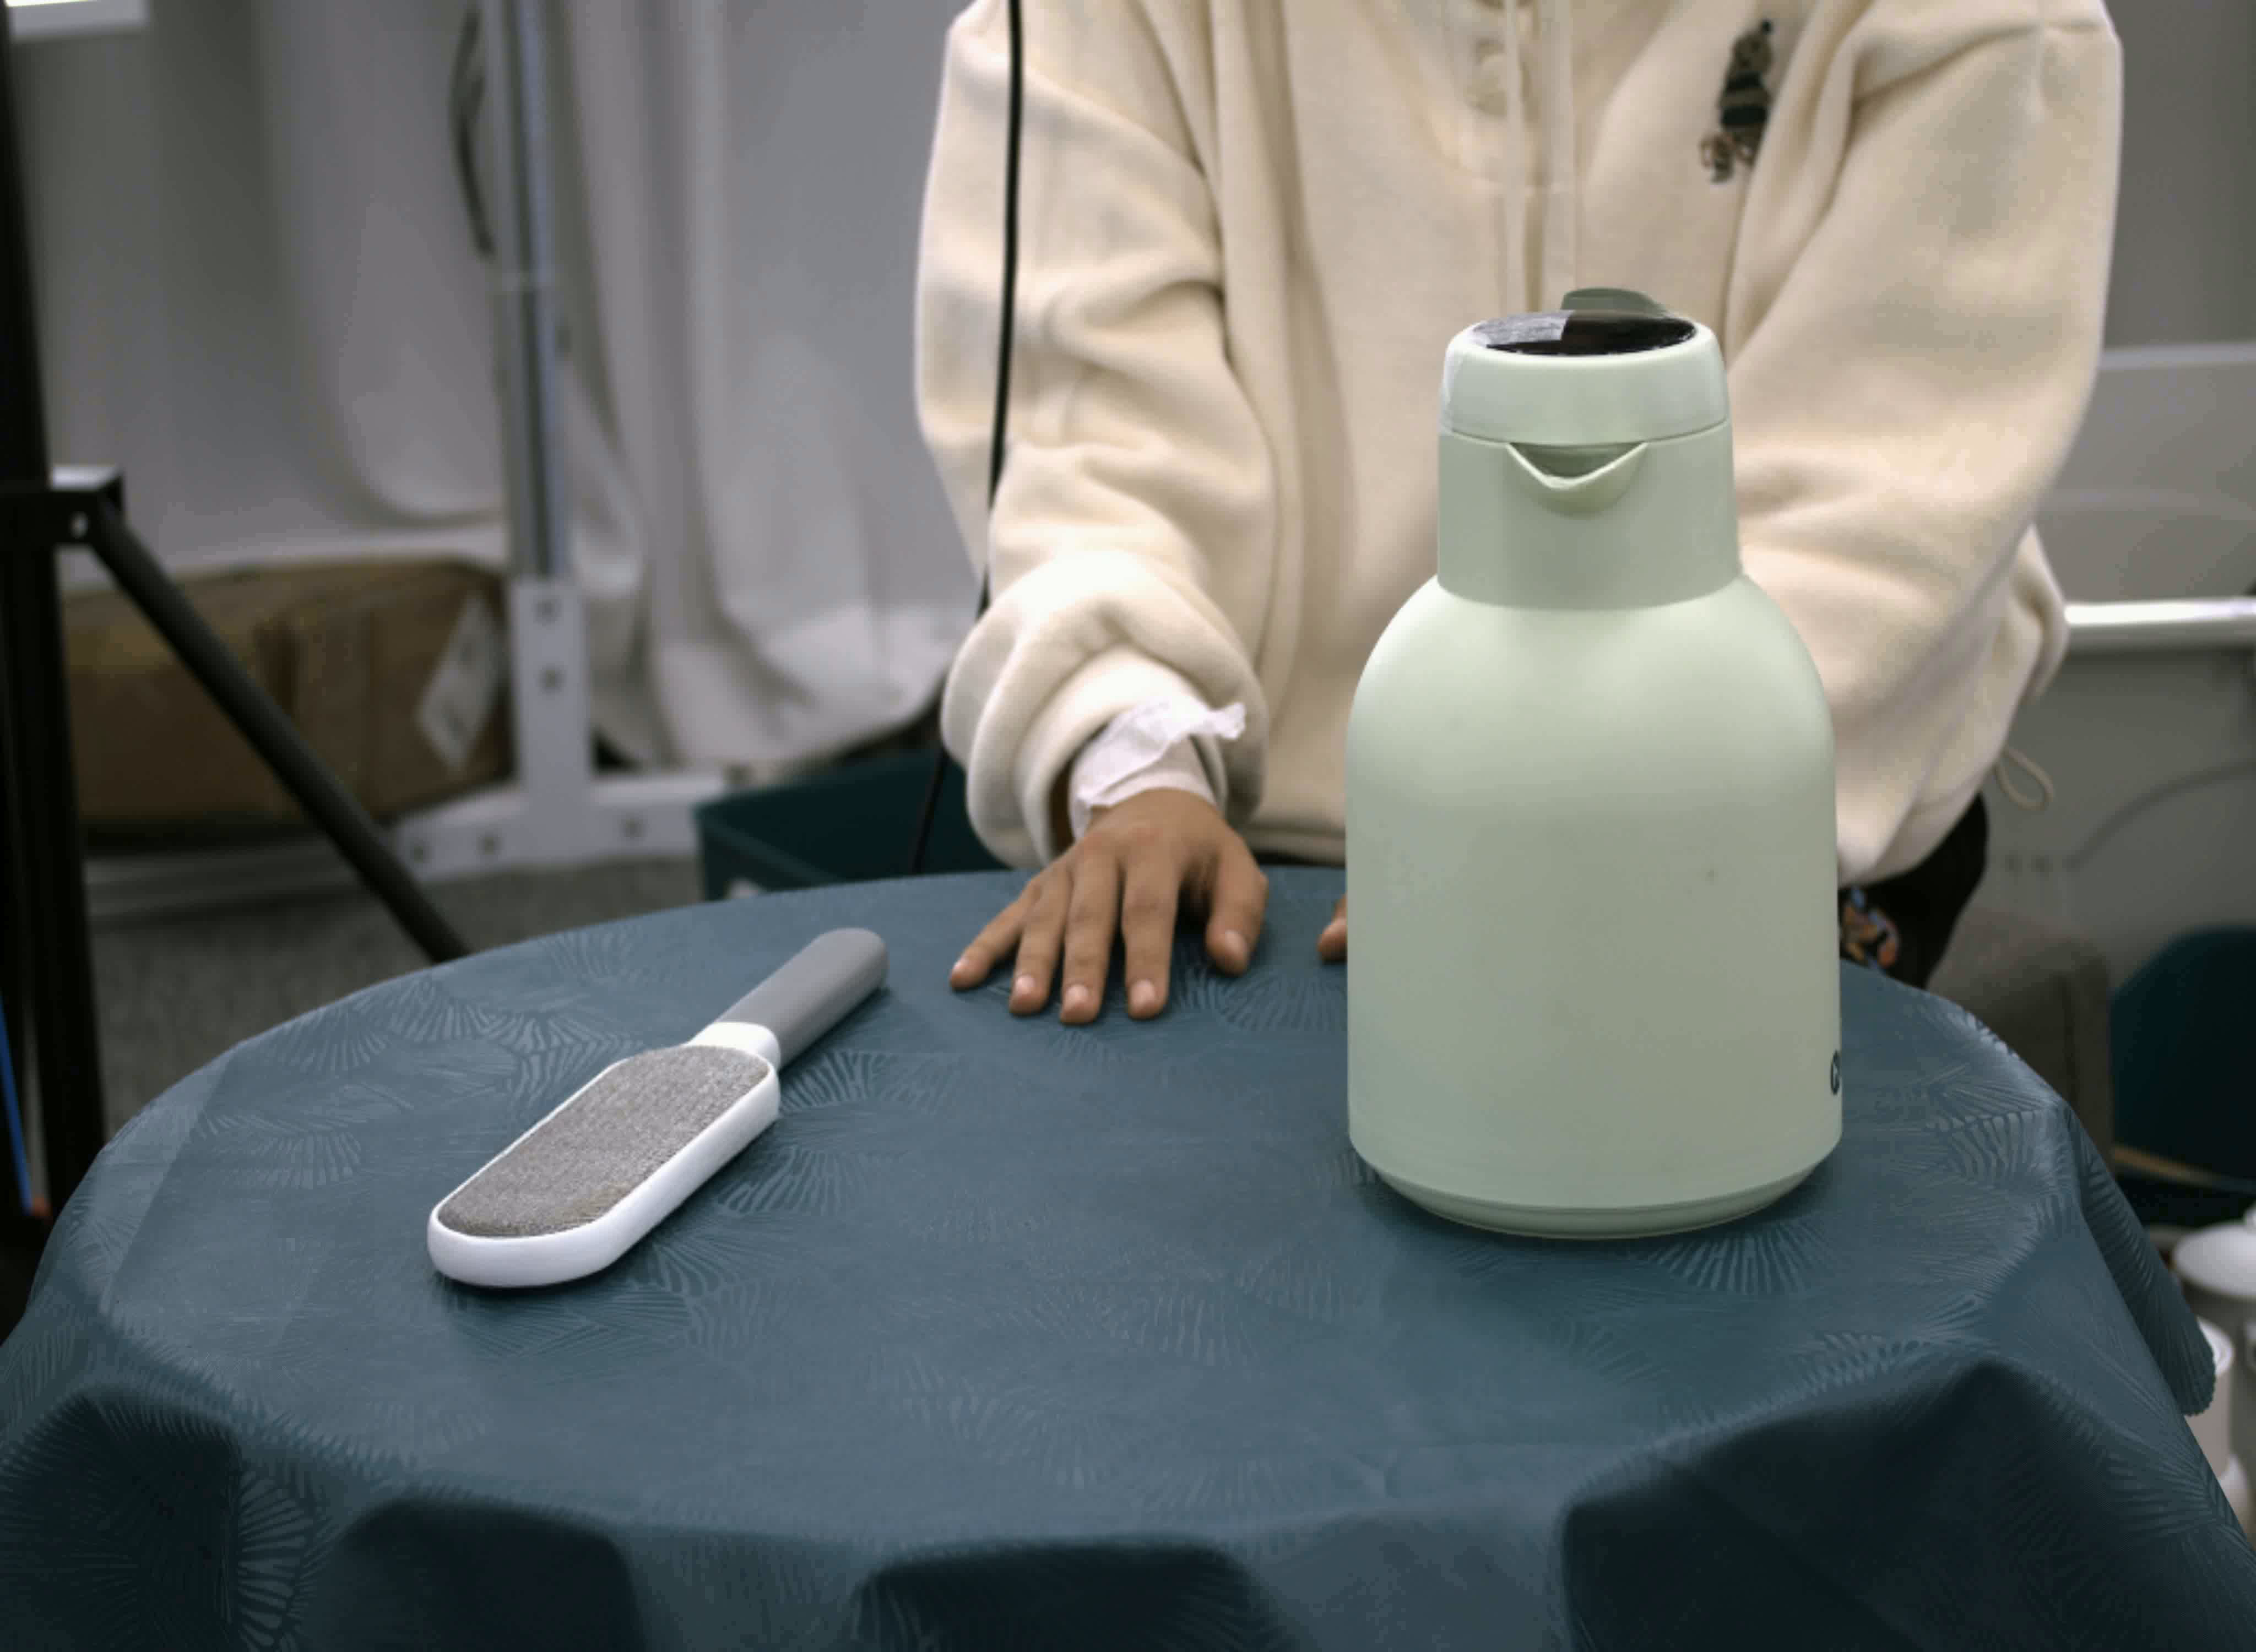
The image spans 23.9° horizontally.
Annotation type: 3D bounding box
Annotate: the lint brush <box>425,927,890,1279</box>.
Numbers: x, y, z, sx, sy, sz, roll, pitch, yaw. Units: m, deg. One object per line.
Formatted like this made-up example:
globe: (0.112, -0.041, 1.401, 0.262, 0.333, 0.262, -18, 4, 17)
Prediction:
lint brush: (-0.133, 0.081, 1.631, 0.060, 0.021, 0.305, 0, 15, 18)

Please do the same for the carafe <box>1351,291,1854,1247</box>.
carafe: (0.136, -0.021, 1.535, 0.145, 0.257, 0.186, -1, 11, 10)
